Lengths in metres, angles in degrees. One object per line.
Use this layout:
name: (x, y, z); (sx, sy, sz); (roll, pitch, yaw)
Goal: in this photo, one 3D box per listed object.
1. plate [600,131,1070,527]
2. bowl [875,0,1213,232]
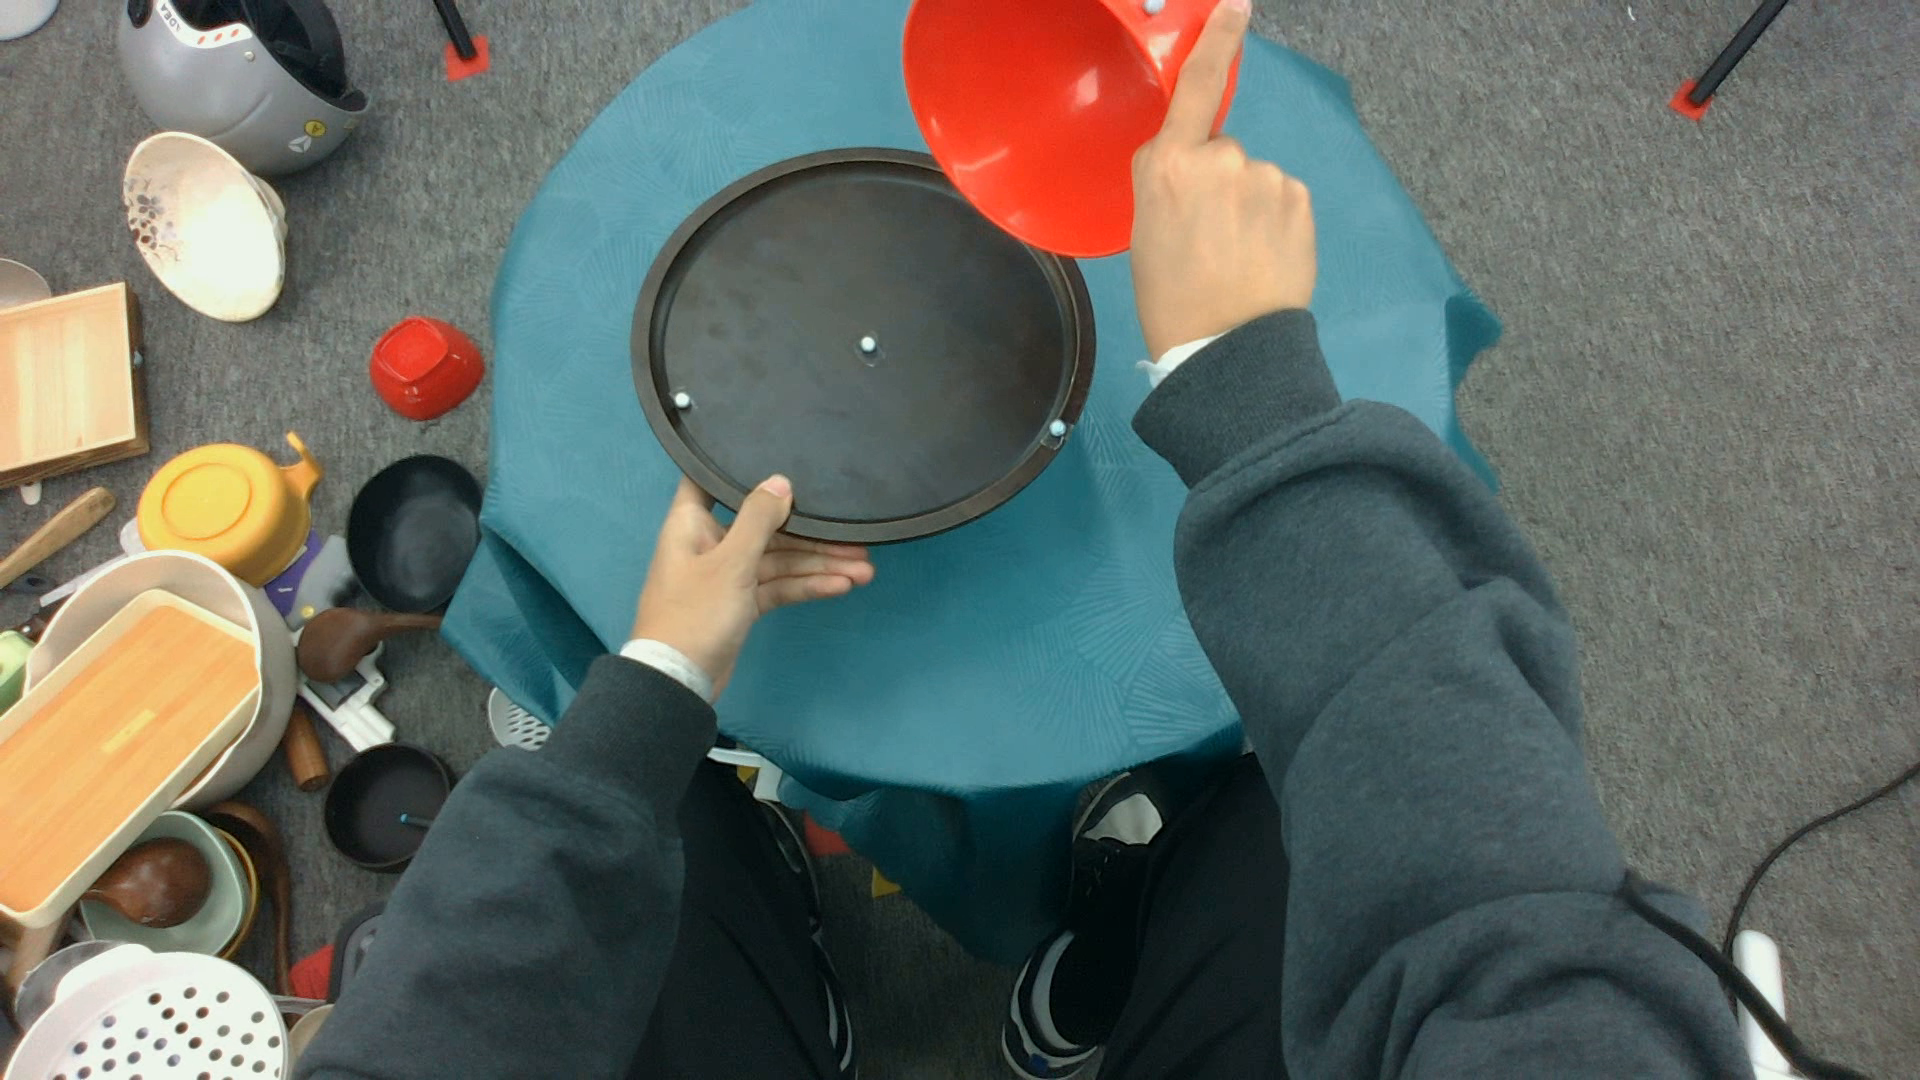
plate: (-0.067, -0.120, 0.752); (0.255, 0.029, 0.255); (2, 65, -3)
bowl: (0.049, -0.226, 0.634); (0.148, 0.147, 0.105); (43, 65, 15)
